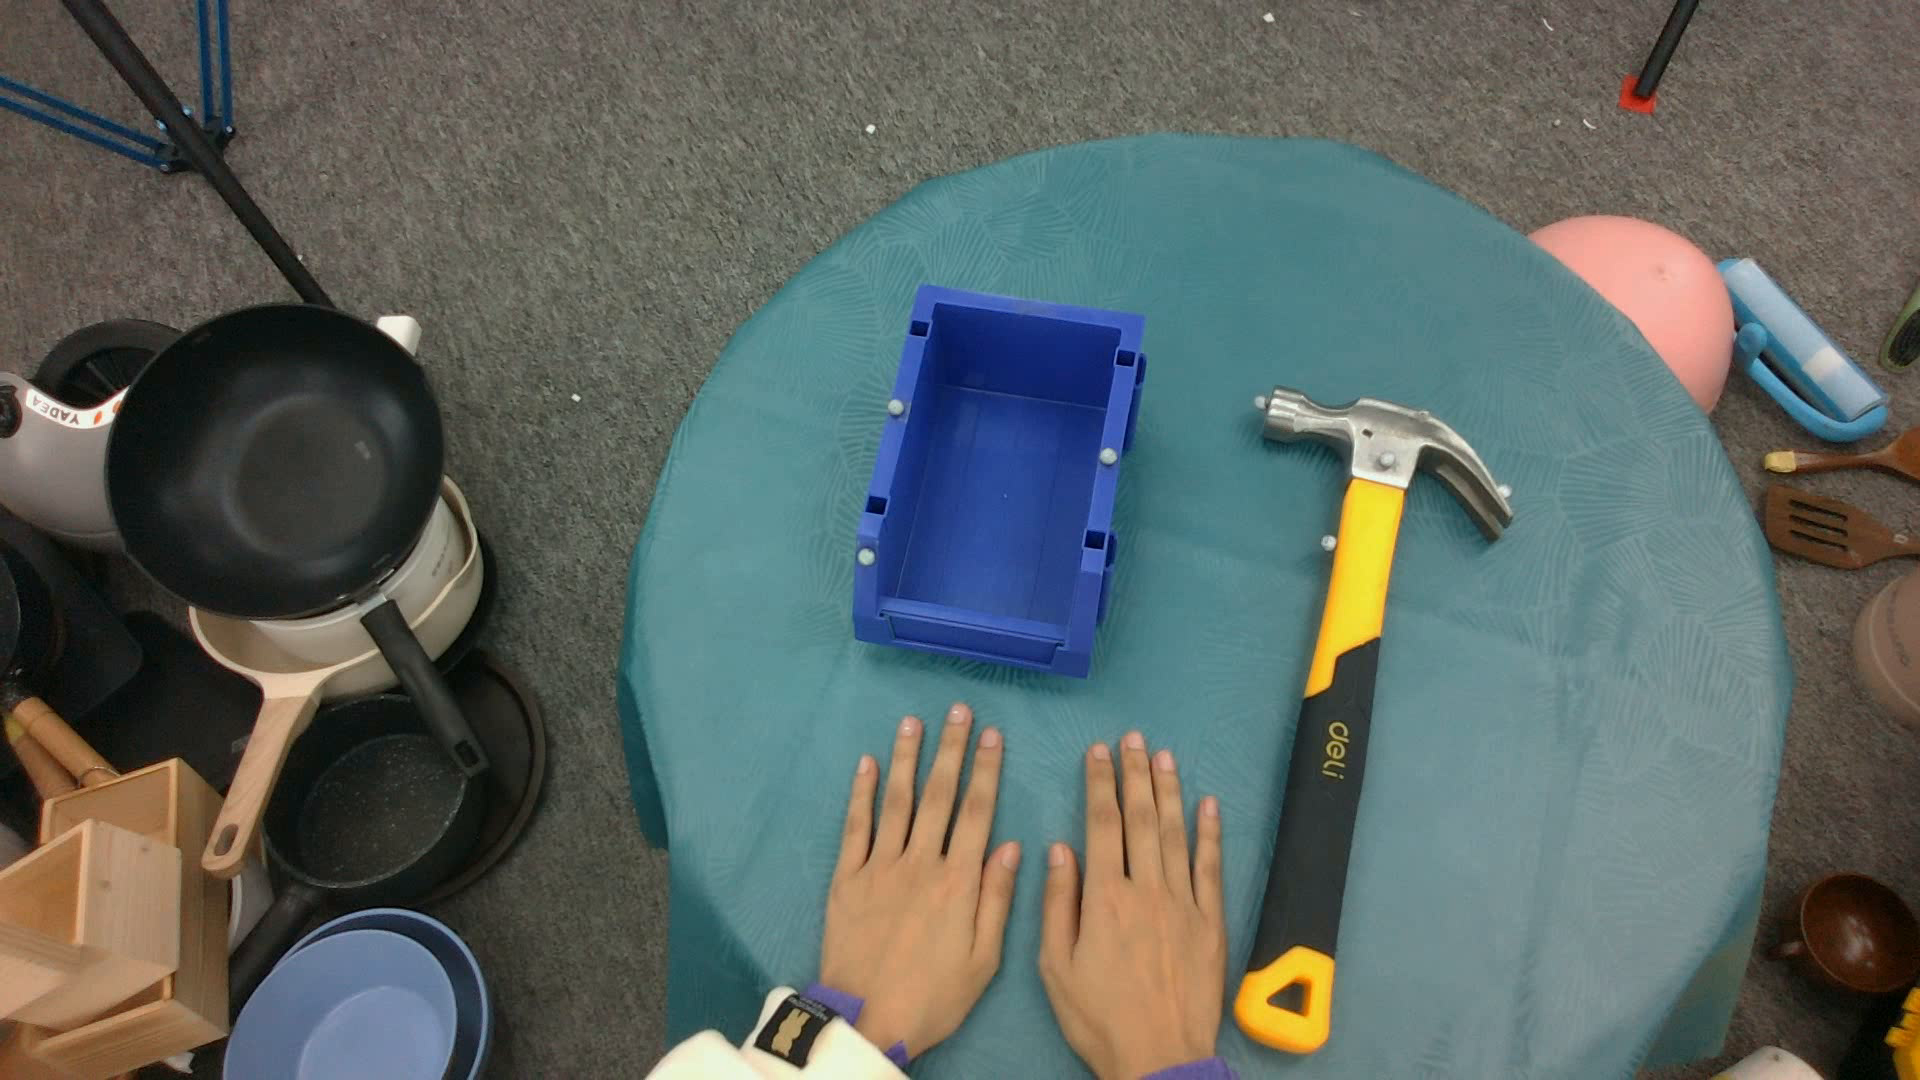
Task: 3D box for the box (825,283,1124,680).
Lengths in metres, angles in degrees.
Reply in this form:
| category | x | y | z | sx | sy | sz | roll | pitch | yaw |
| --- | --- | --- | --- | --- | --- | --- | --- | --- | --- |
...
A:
| category | x | y | z | sx | sy | sz | roll | pitch | yaw |
| --- | --- | --- | --- | --- | --- | --- | --- | --- | --- |
| box | 0.011 | -0.028 | 0.705 | 0.124 | 0.081 | 0.180 | 10 | 63 | 5 |

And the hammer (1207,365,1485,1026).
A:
| category | x | y | z | sx | sy | sz | roll | pitch | yaw |
| --- | --- | --- | --- | --- | --- | --- | --- | --- | --- |
| hammer | 0.176 | 0.067 | 0.683 | 0.131 | 0.032 | 0.340 | 15 | 65 | 6 |
